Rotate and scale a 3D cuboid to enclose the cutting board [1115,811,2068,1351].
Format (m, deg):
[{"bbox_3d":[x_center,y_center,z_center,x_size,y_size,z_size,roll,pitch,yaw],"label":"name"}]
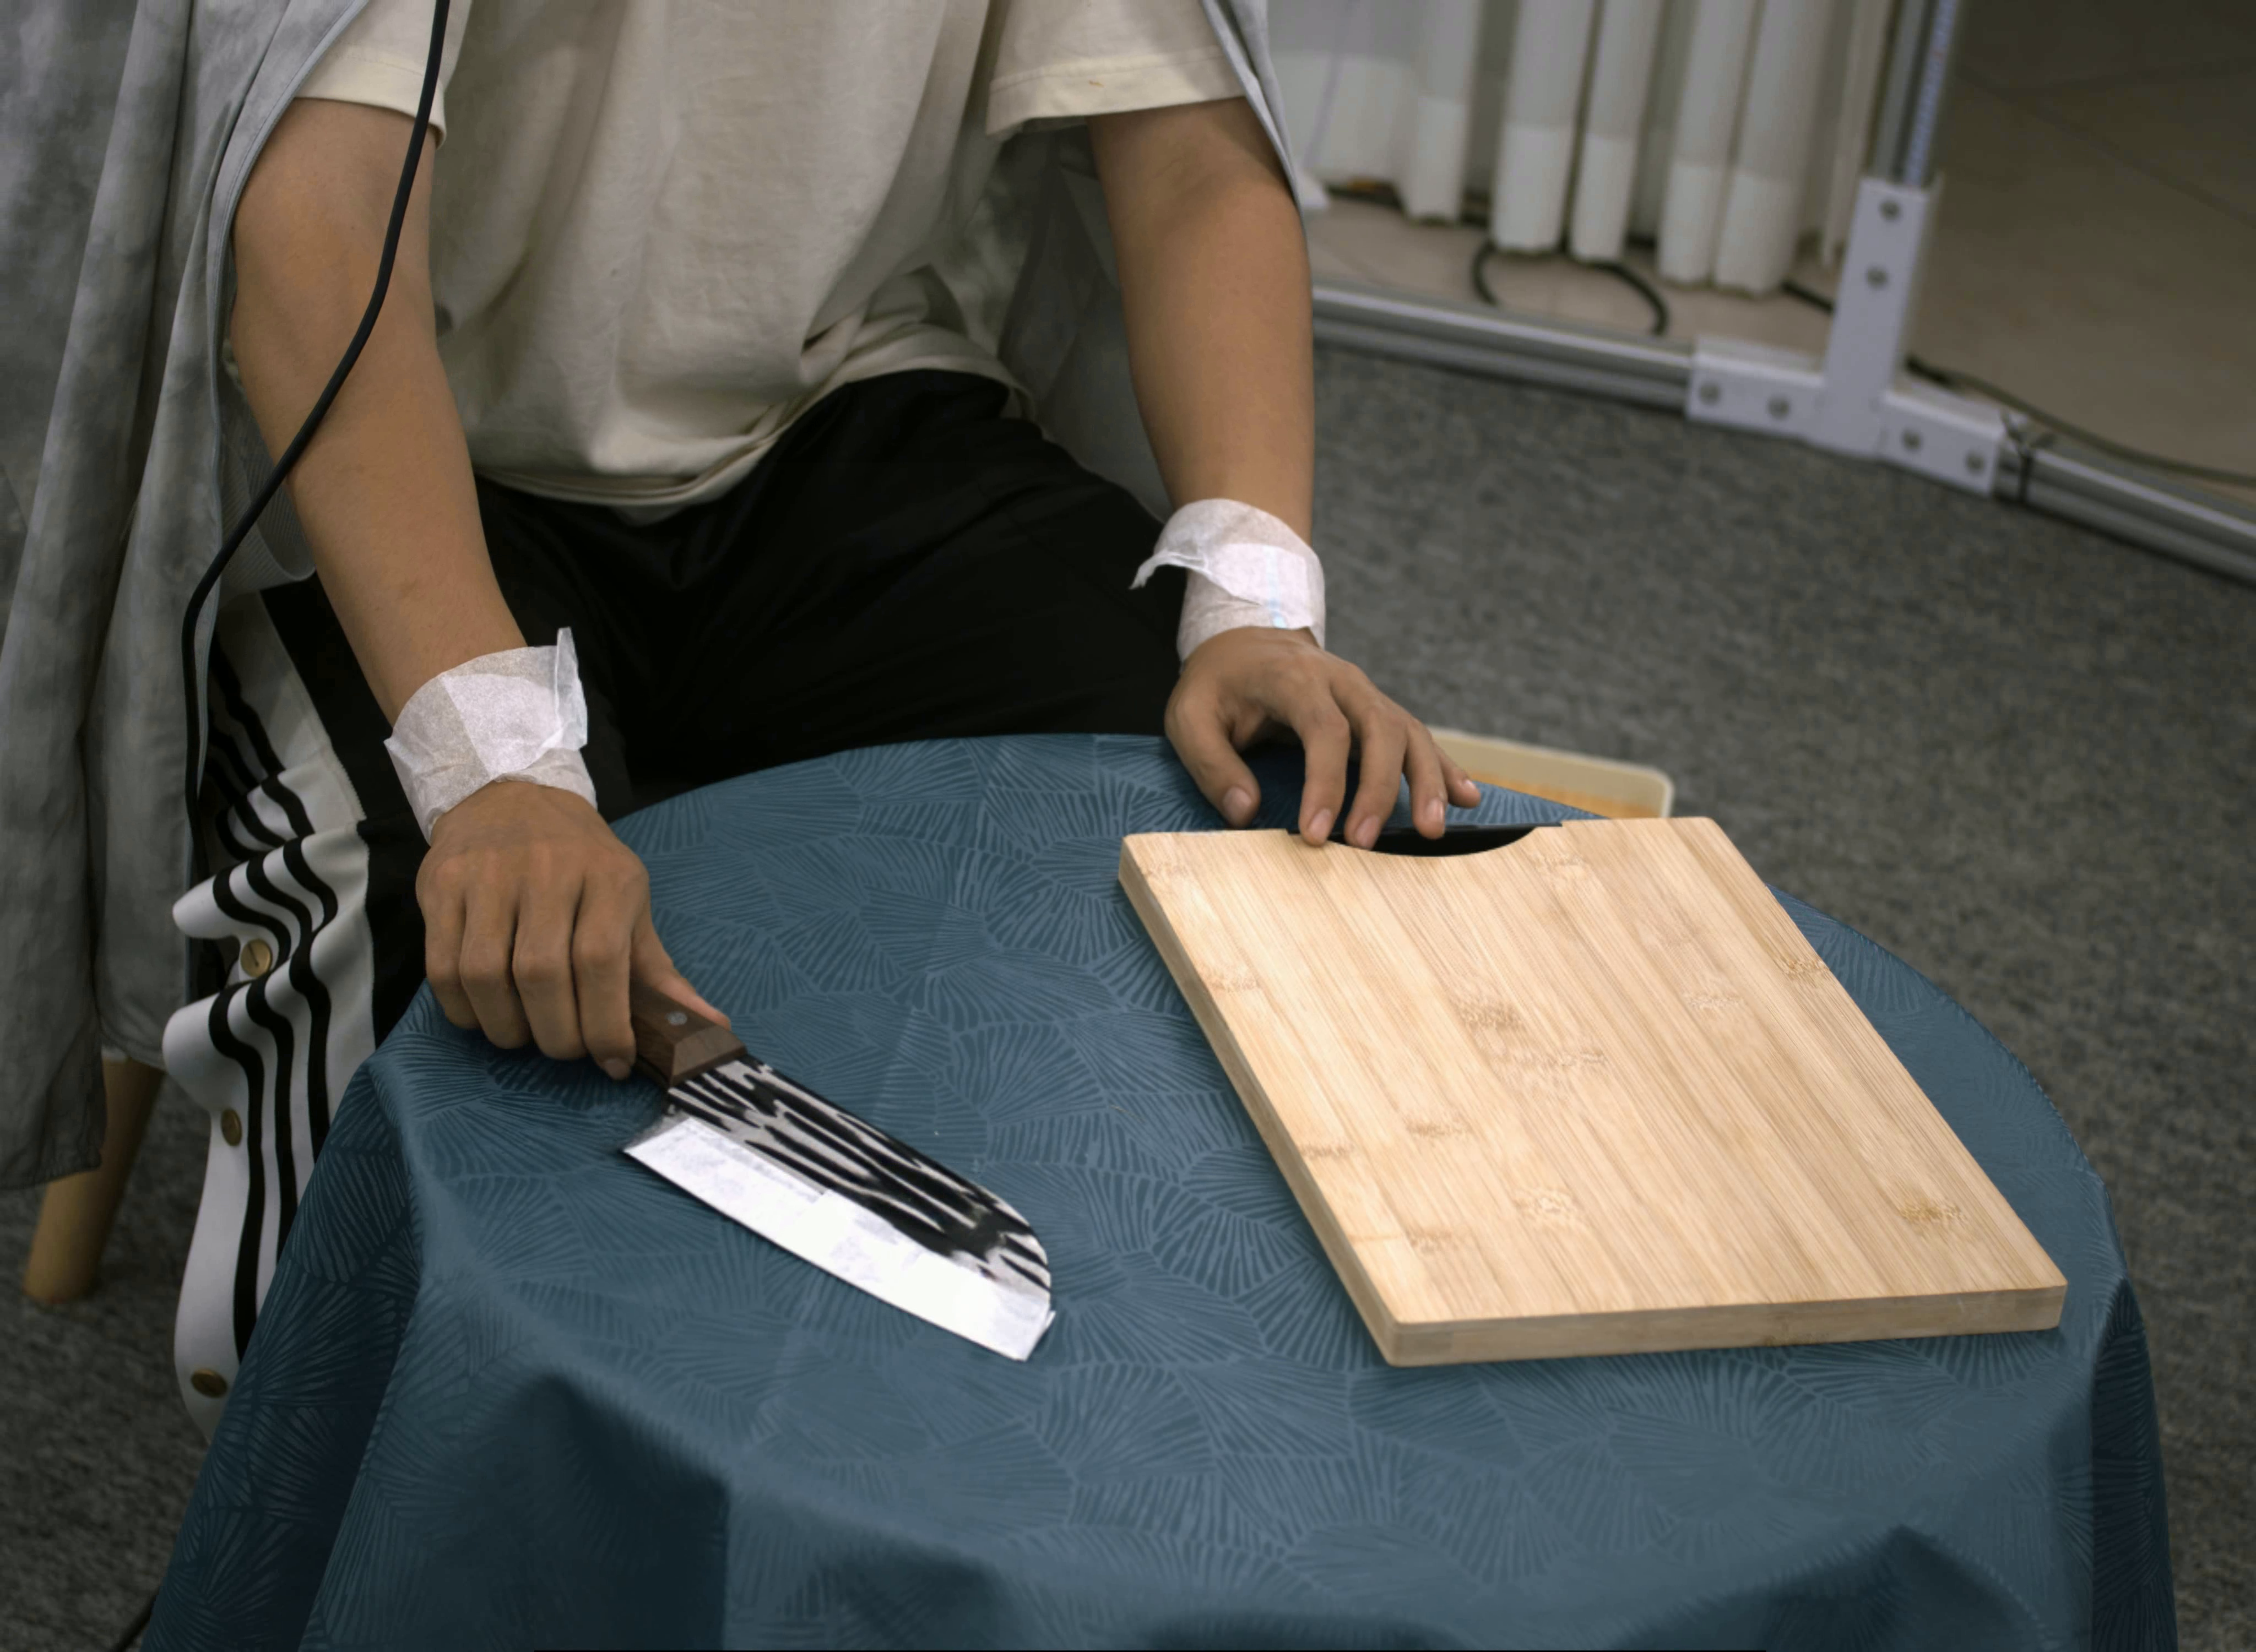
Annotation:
[{"bbox_3d":[0.155,0.085,1.899,0.249,0.023,0.351,-2,28,-17],"label":"cutting board"}]

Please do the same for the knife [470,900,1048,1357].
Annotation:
[{"bbox_3d":[-0.133,0.101,1.797,0.301,0.024,0.068,28,40,32],"label":"knife"}]
